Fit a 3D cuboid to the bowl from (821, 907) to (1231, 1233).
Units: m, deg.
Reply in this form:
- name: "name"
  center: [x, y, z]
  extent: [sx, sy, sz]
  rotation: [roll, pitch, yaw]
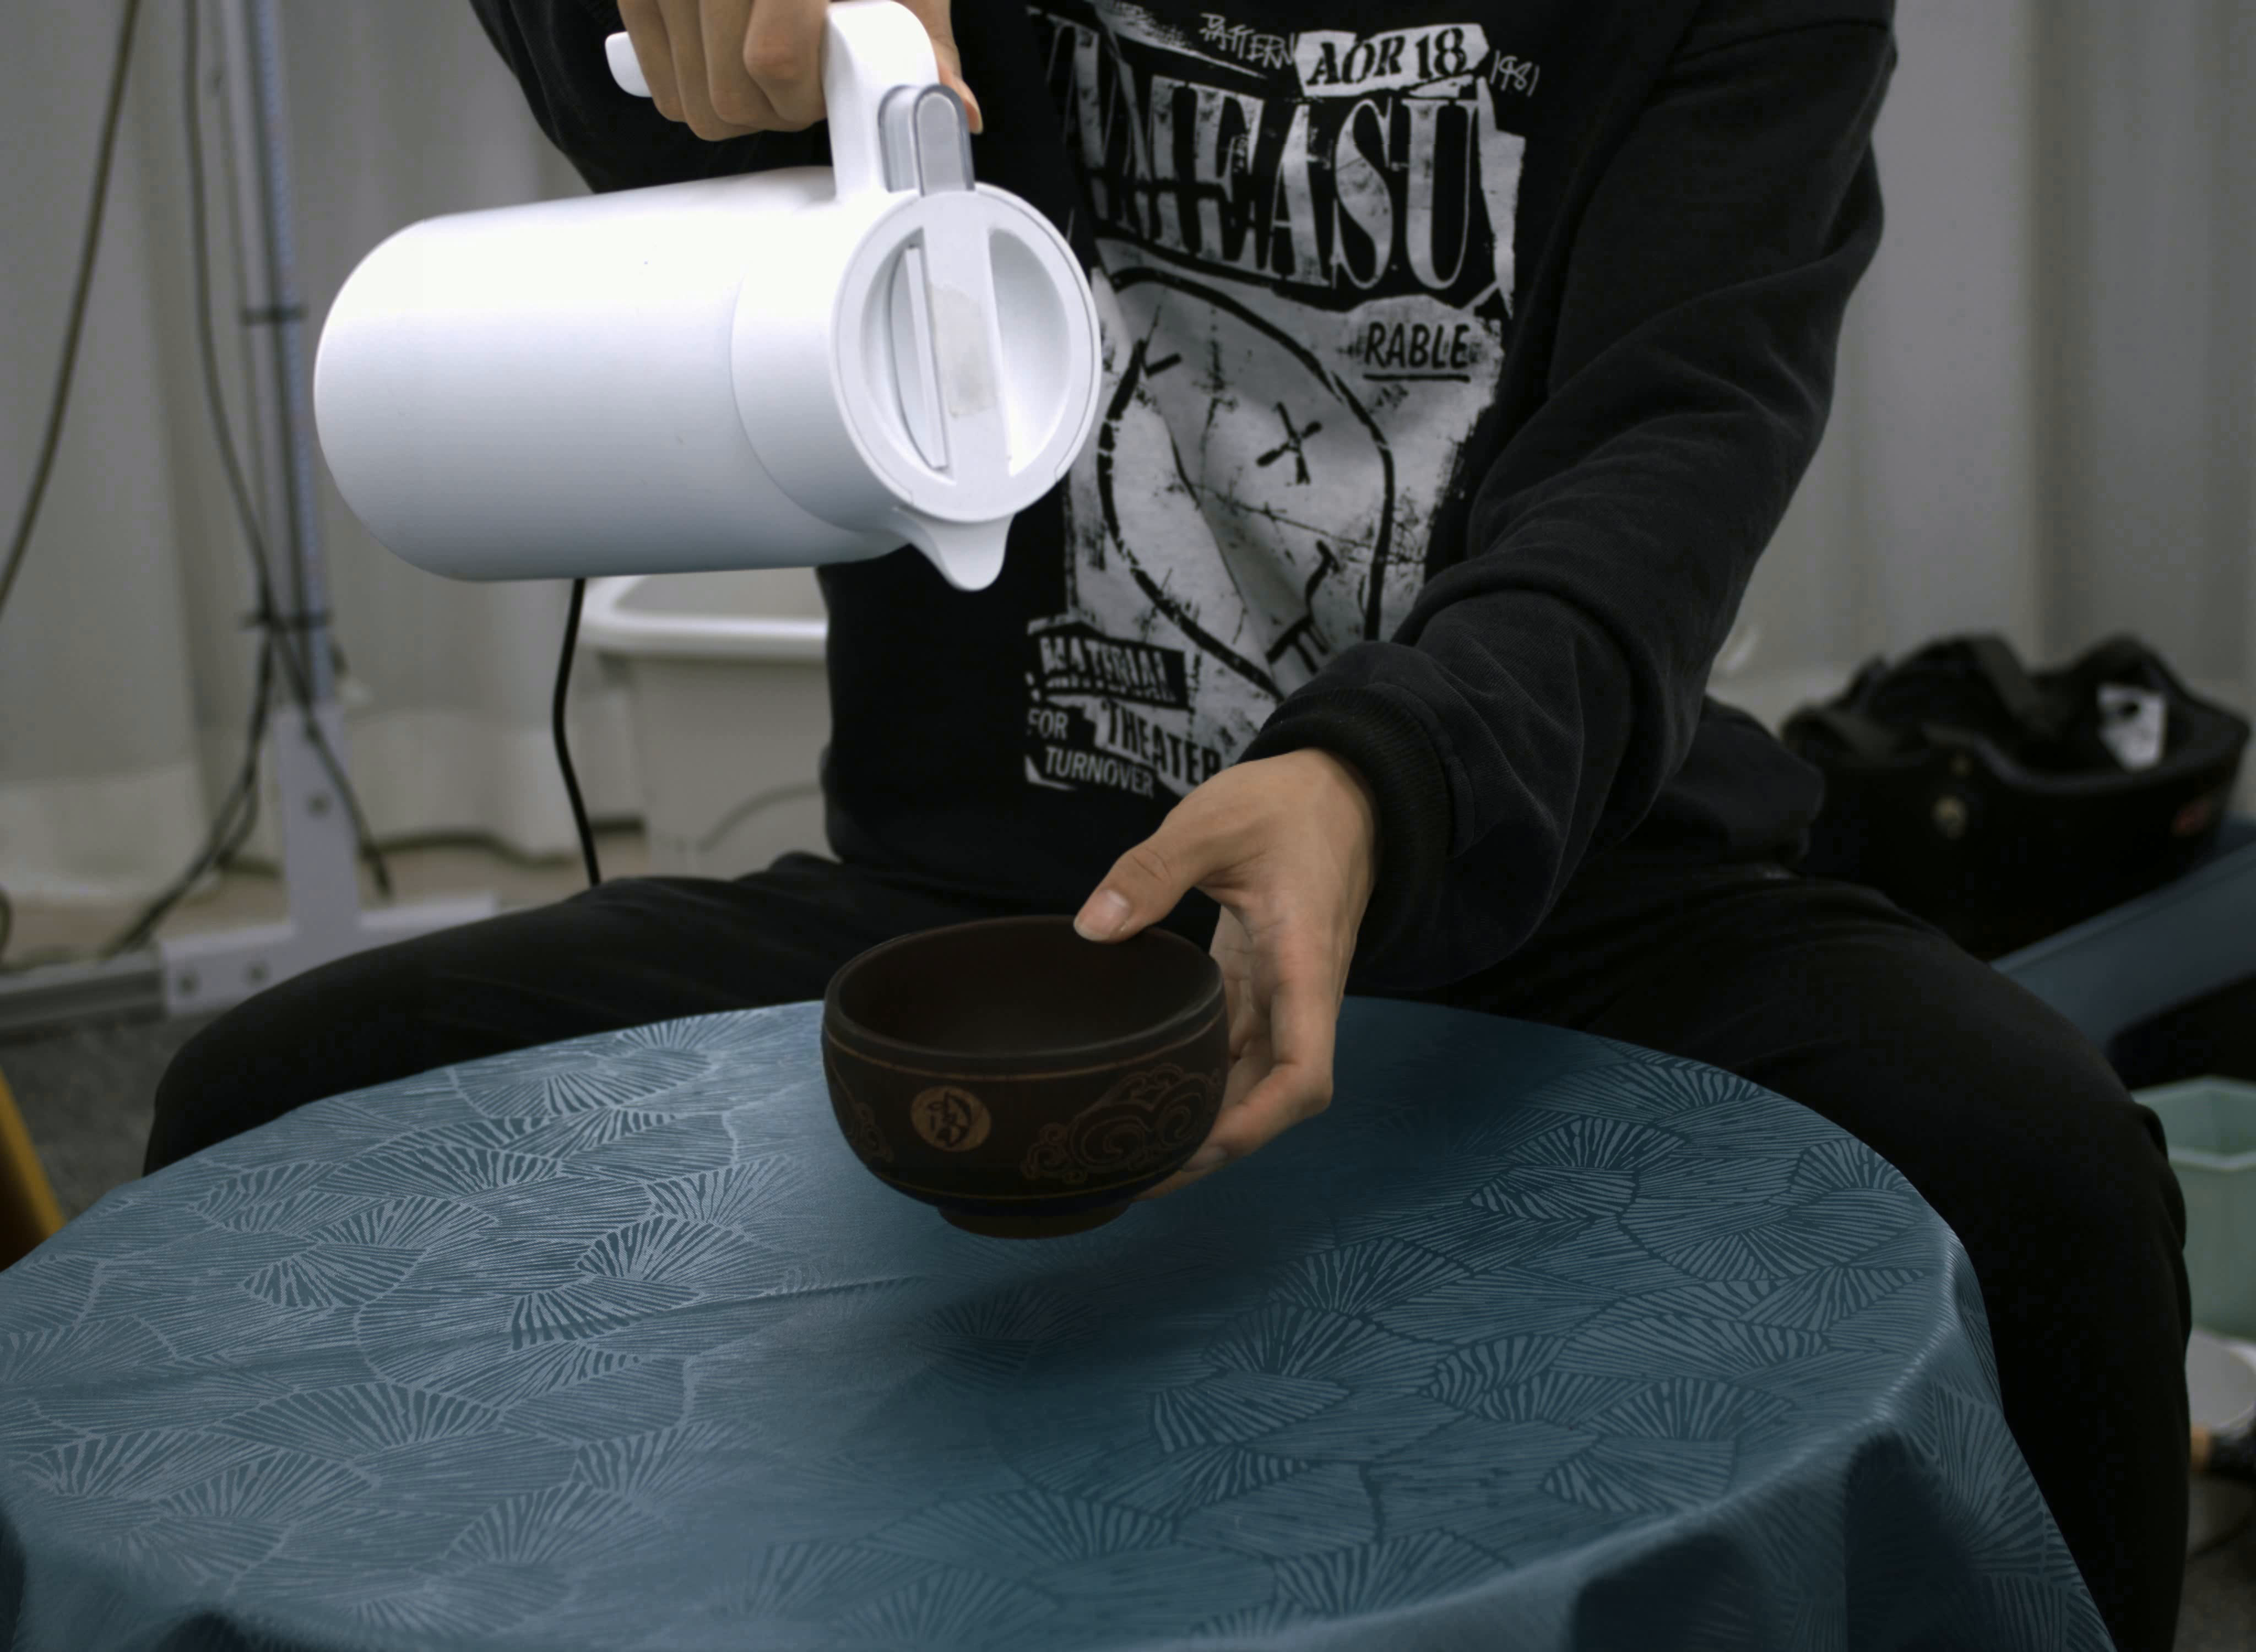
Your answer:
- name: "bowl"
  center: [-0.028, 0.075, 1.578]
  extent: [0.117, 0.069, 0.119]
  rotation: [-3, 18, 1]

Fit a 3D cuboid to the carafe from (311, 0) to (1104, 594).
- name: "carafe"
  center: [-0.132, -0.153, 1.644]
  extent: [0.123, 0.173, 0.270]
  rotation: [-12, 8, -37]
